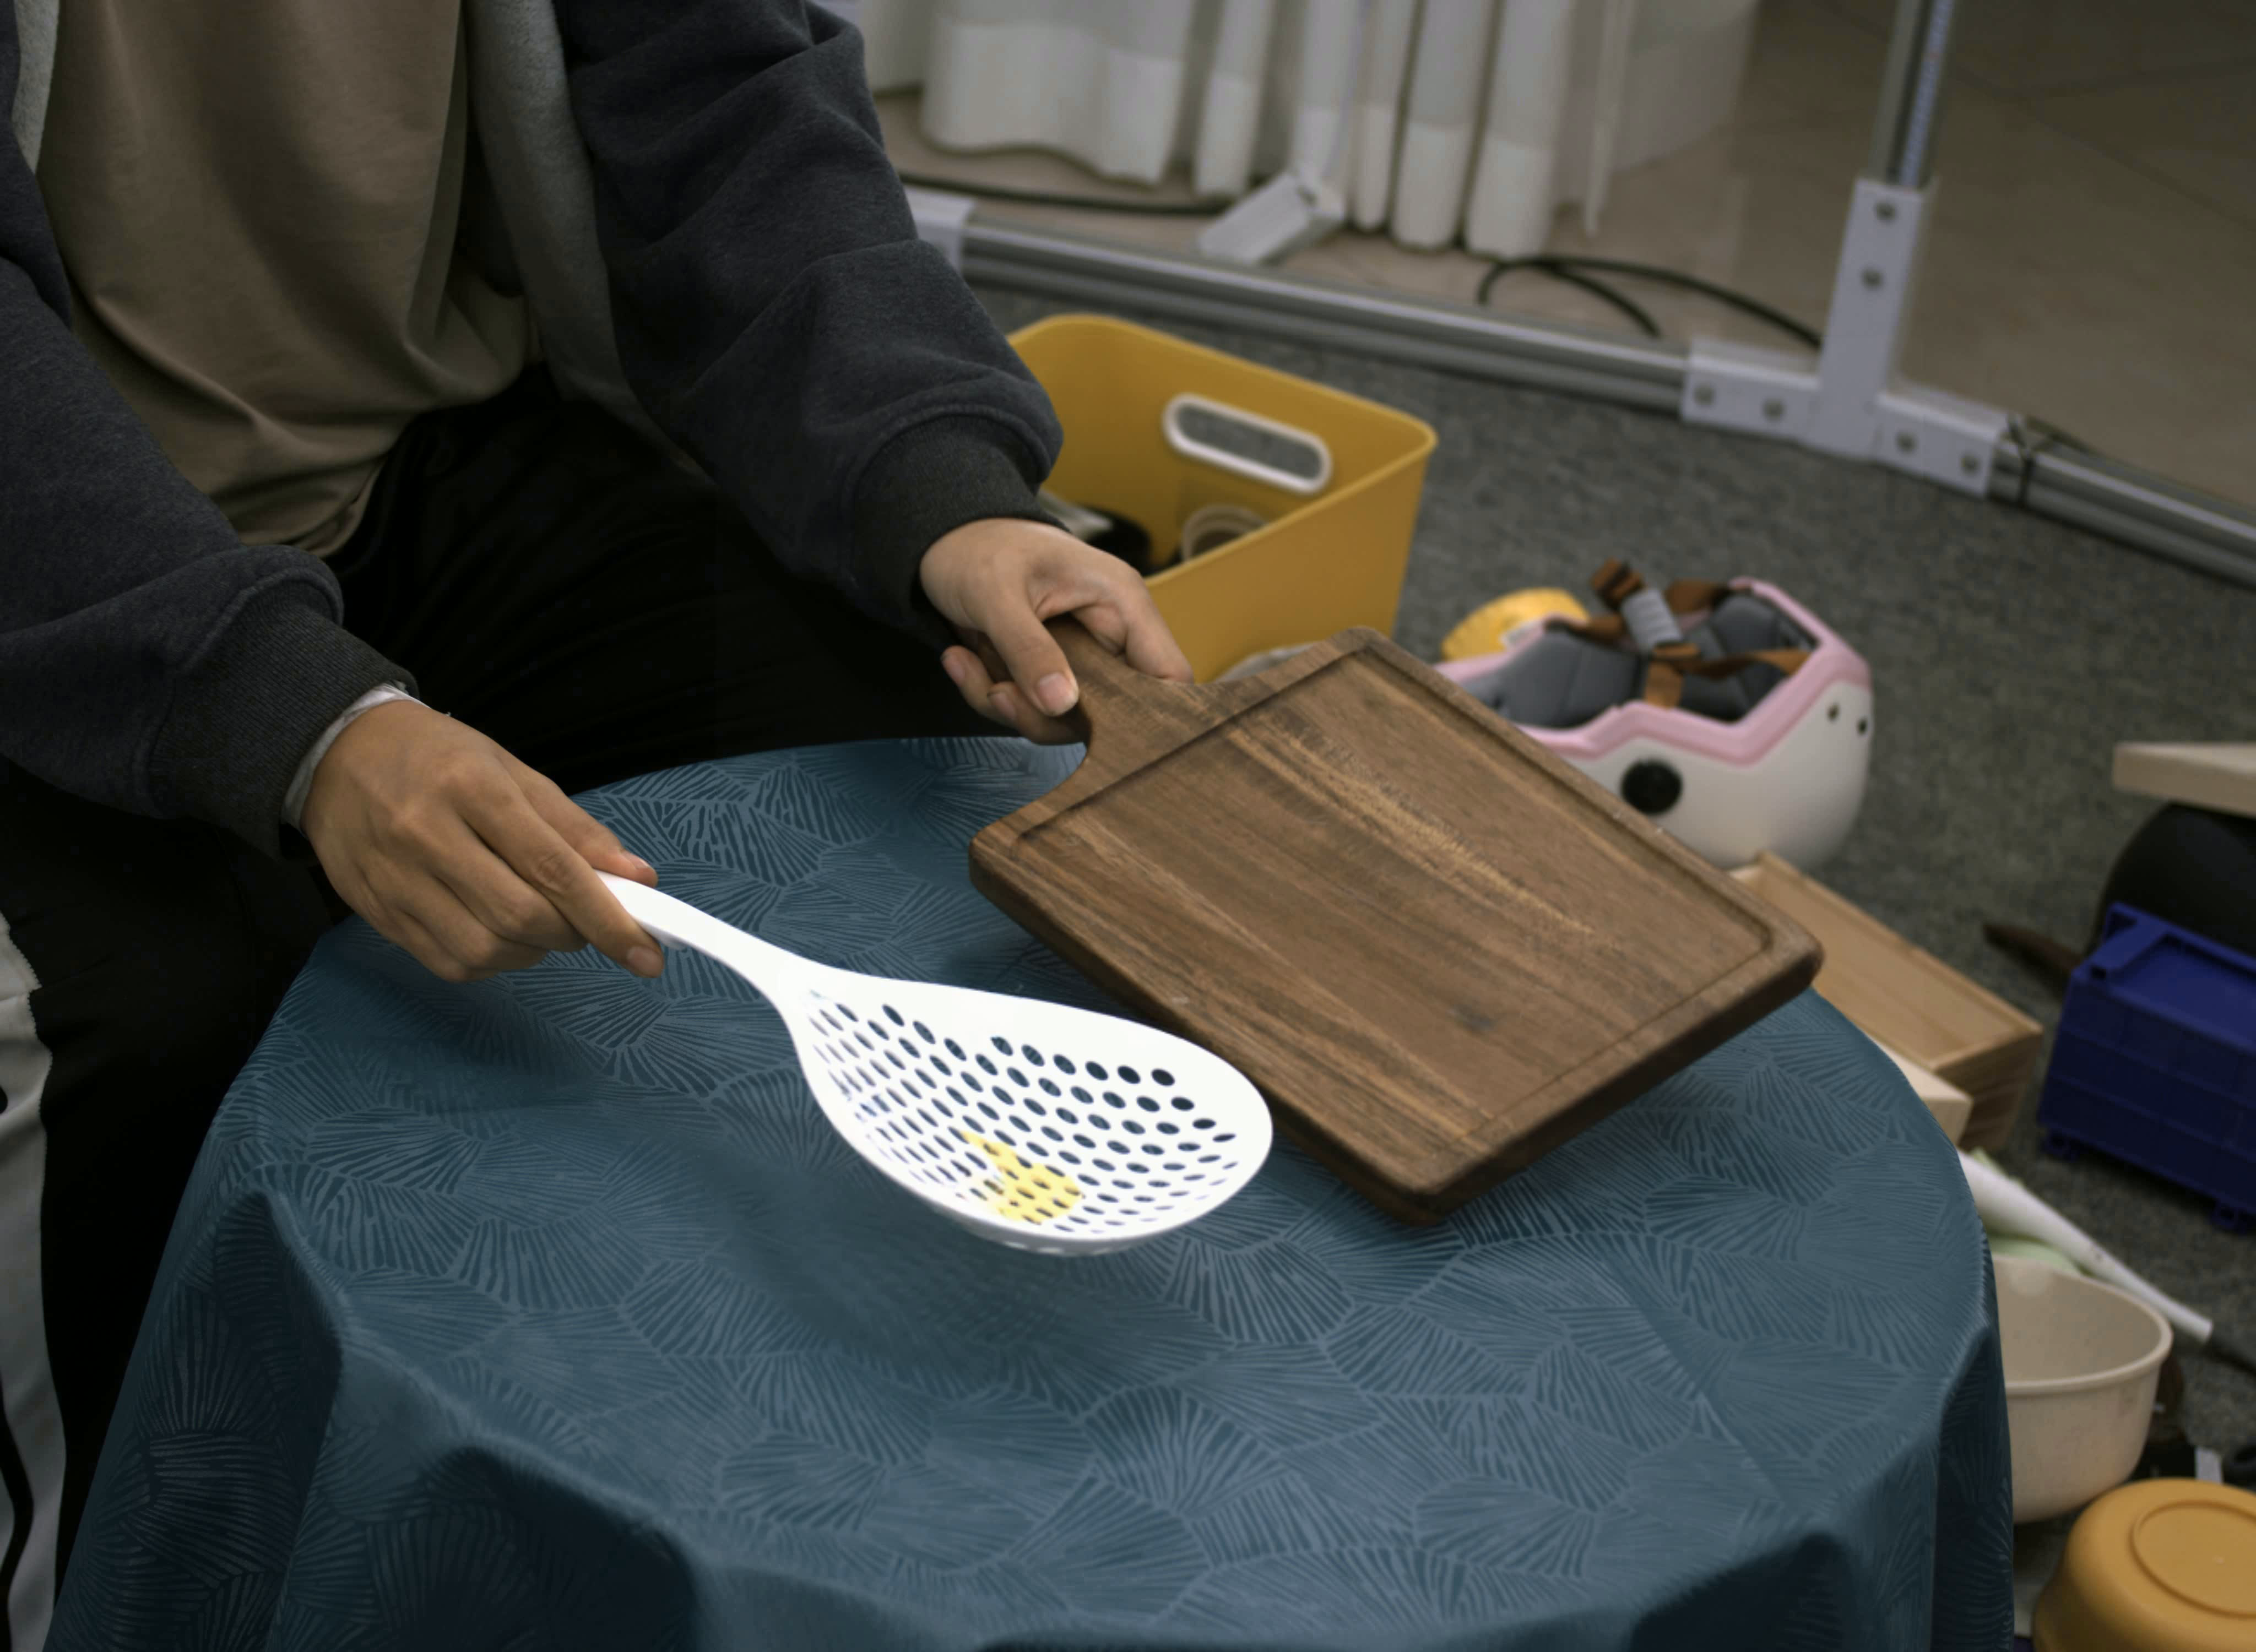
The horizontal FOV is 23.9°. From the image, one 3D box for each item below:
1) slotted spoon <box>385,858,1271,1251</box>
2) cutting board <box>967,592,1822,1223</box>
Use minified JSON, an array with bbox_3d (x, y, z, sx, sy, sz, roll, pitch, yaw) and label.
[{"bbox_3d":[-0.112,0.063,1.784,0.350,0.050,0.136,27,37,27],"label":"slotted spoon"},{"bbox_3d":[0.062,0.004,1.930,0.200,0.023,0.355,-29,46,-28],"label":"cutting board"}]
